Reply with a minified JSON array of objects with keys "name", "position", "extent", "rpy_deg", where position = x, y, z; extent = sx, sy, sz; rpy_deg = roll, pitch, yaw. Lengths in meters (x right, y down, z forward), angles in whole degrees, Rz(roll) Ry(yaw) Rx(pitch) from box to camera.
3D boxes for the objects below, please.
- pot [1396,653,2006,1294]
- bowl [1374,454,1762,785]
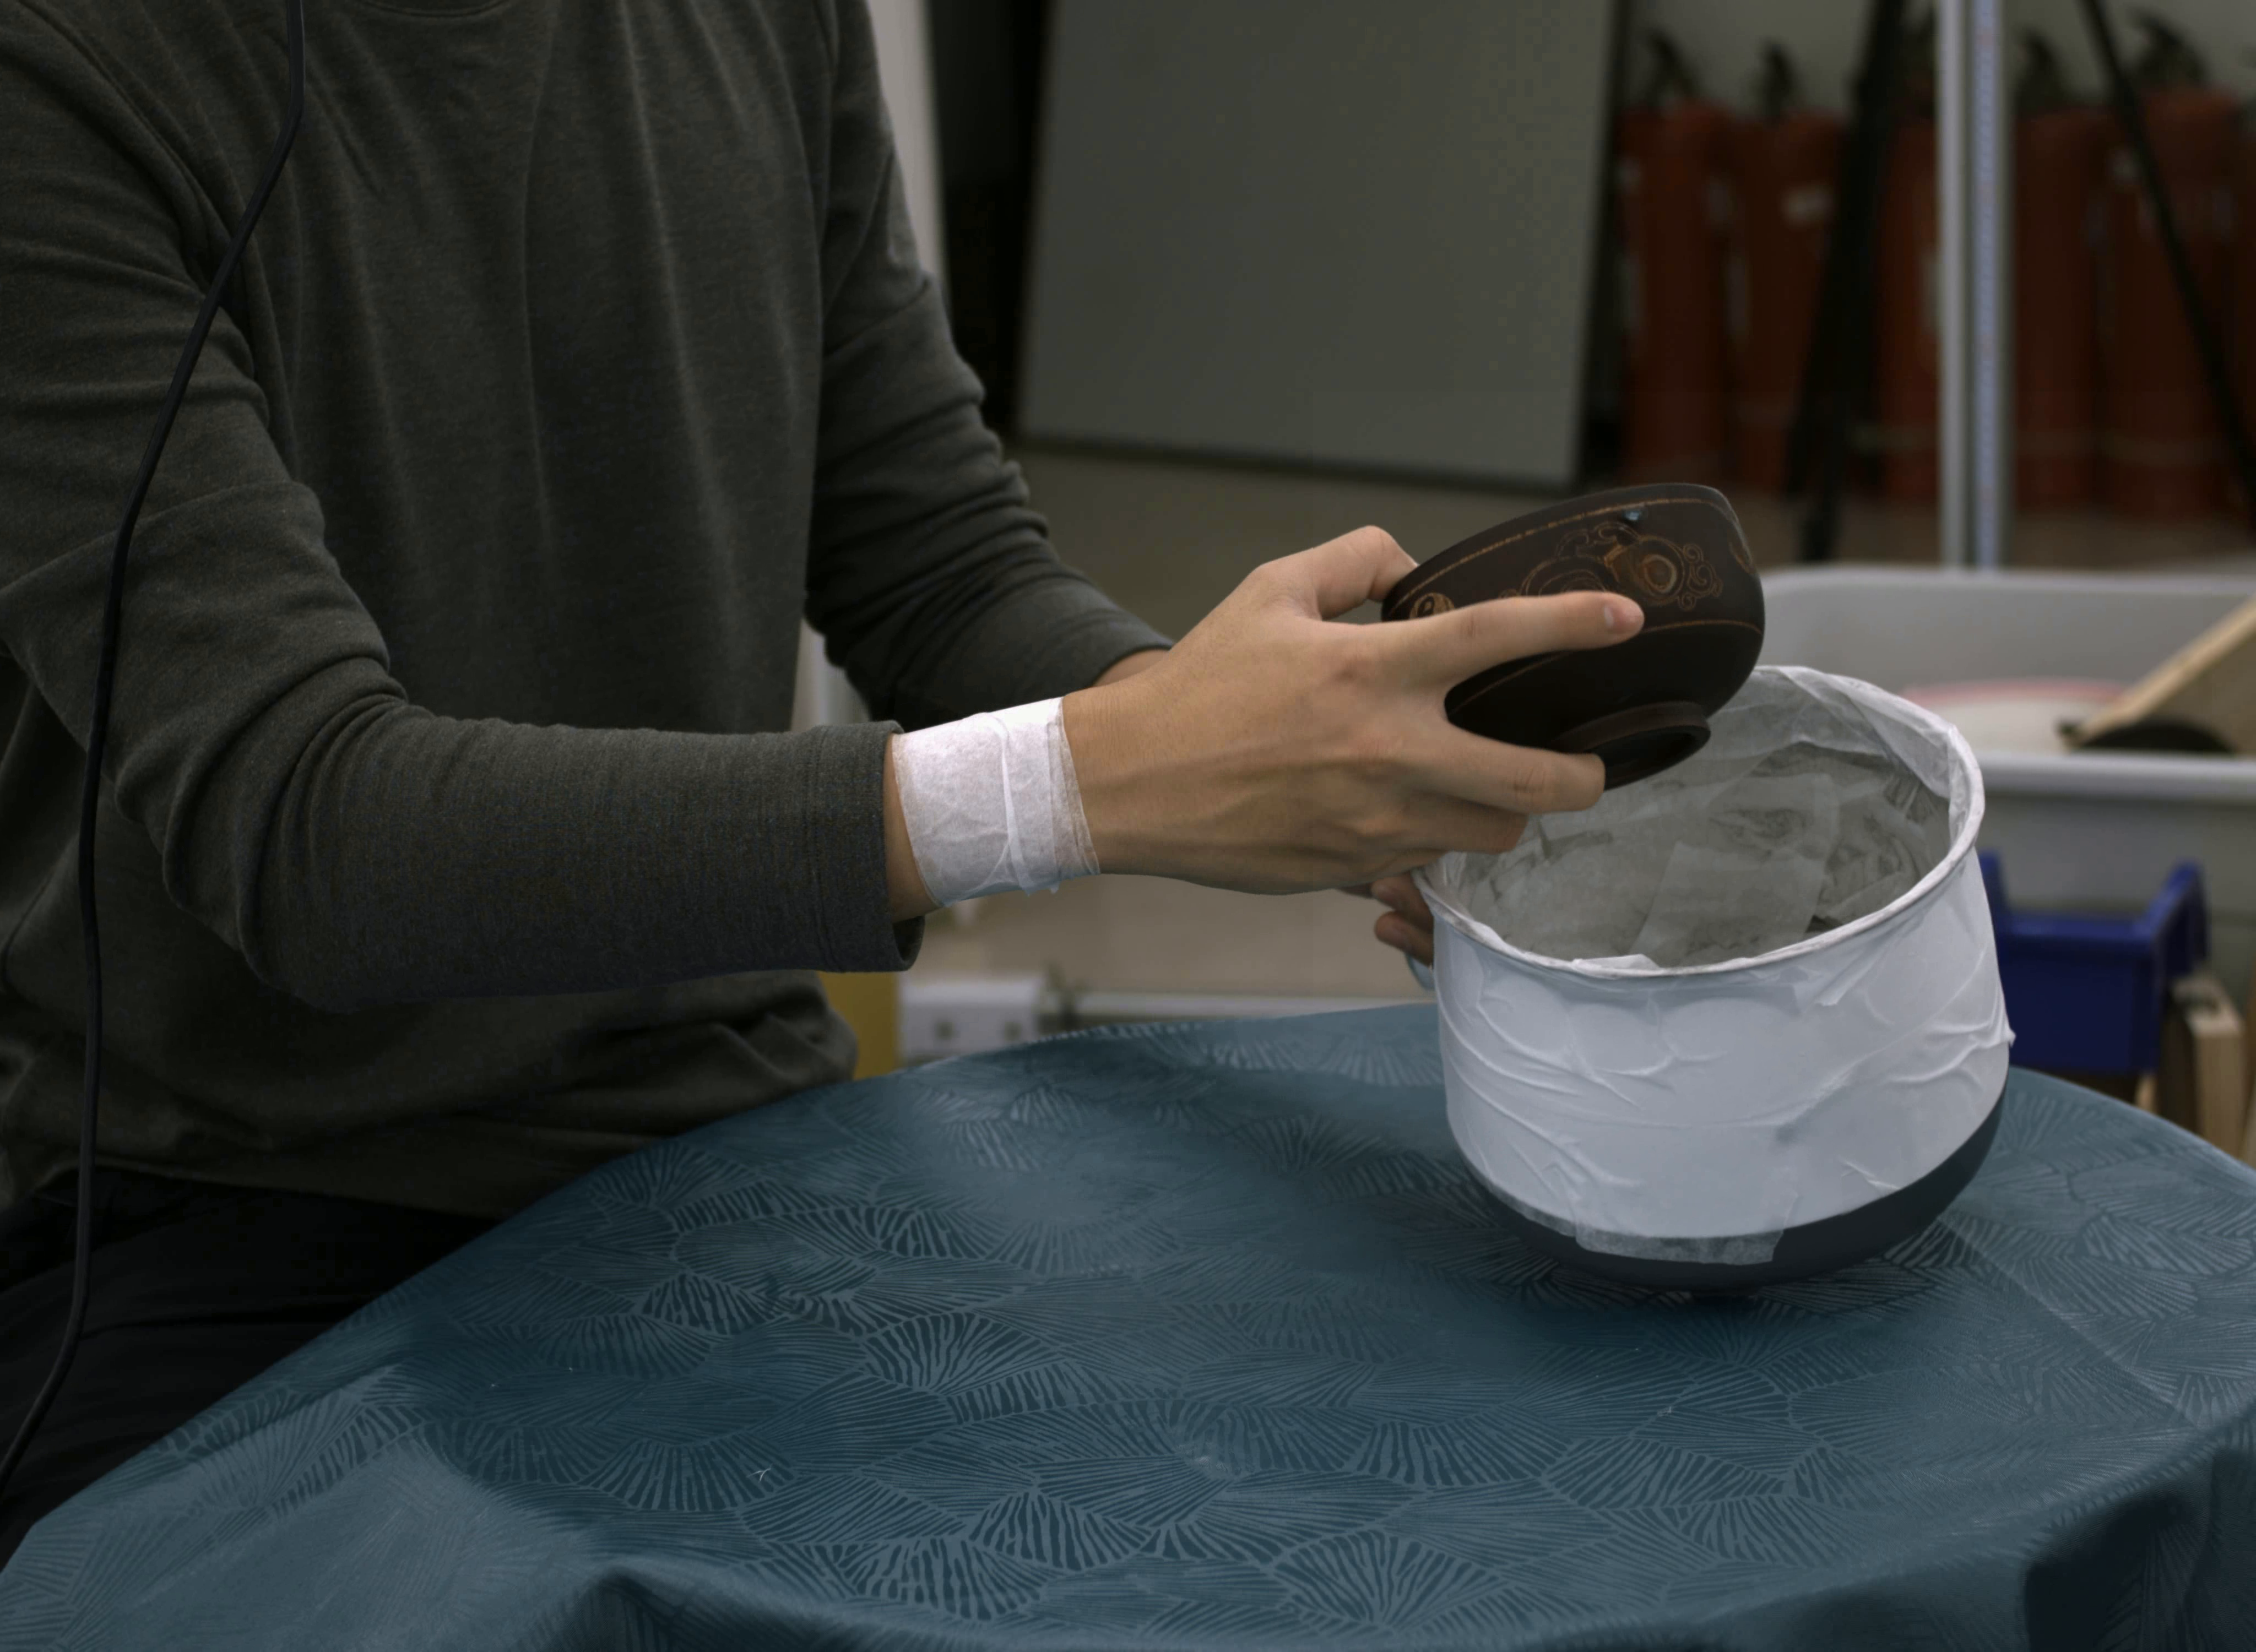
[{"name":"pot","position":[0.163,0.038,1.676],"extent":[0.176,0.137,0.236],"rpy_deg":[-28,34,-28]},{"name":"bowl","position":[0.139,-0.056,1.636],"extent":[0.116,0.071,0.118],"rpy_deg":[-17,-18,-6]}]
